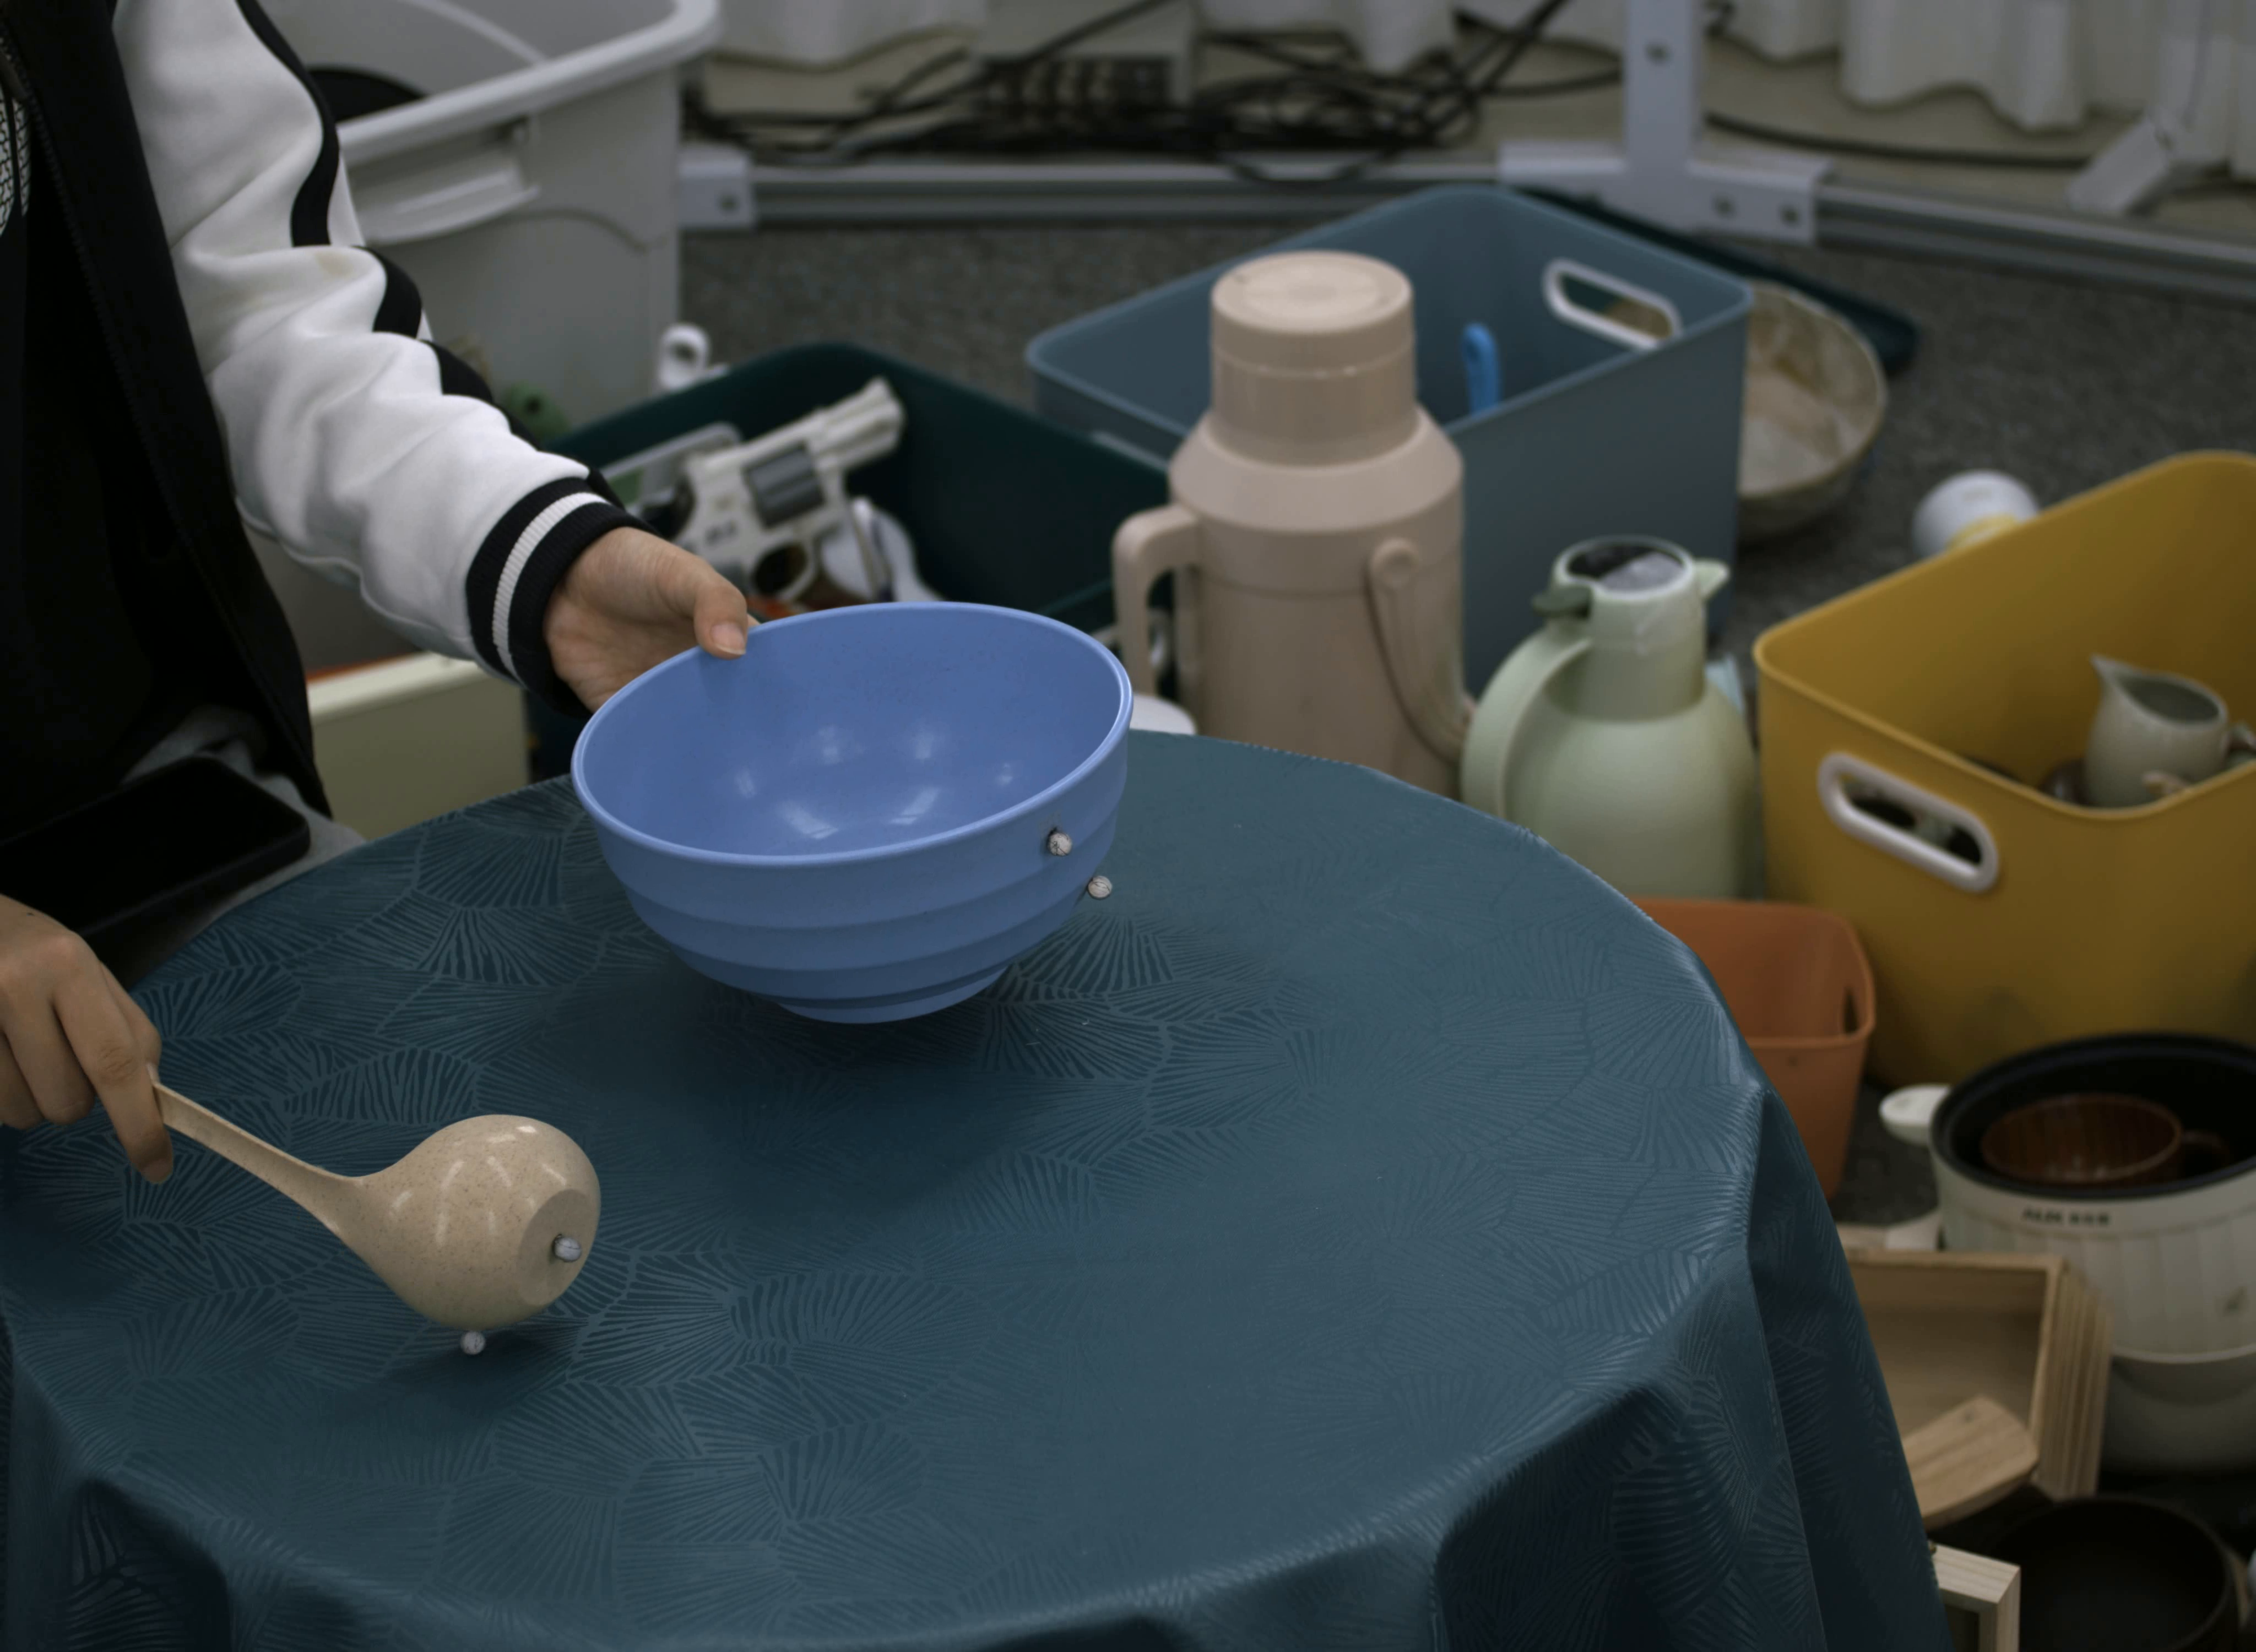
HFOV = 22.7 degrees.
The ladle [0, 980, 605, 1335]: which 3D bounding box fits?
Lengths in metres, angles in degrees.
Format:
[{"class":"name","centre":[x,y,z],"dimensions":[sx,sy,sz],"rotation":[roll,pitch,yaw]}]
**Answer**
[{"class":"ladle","centre":[-0.278,0.094,1.839],"dimensions":[0.254,0.072,0.073],"rotation":[24,19,33]}]

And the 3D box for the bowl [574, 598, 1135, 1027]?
[{"class":"bowl","centre":[-0.089,0.007,1.961],"dimensions":[0.195,0.094,0.199],"rotation":[-6,28,3]}]
